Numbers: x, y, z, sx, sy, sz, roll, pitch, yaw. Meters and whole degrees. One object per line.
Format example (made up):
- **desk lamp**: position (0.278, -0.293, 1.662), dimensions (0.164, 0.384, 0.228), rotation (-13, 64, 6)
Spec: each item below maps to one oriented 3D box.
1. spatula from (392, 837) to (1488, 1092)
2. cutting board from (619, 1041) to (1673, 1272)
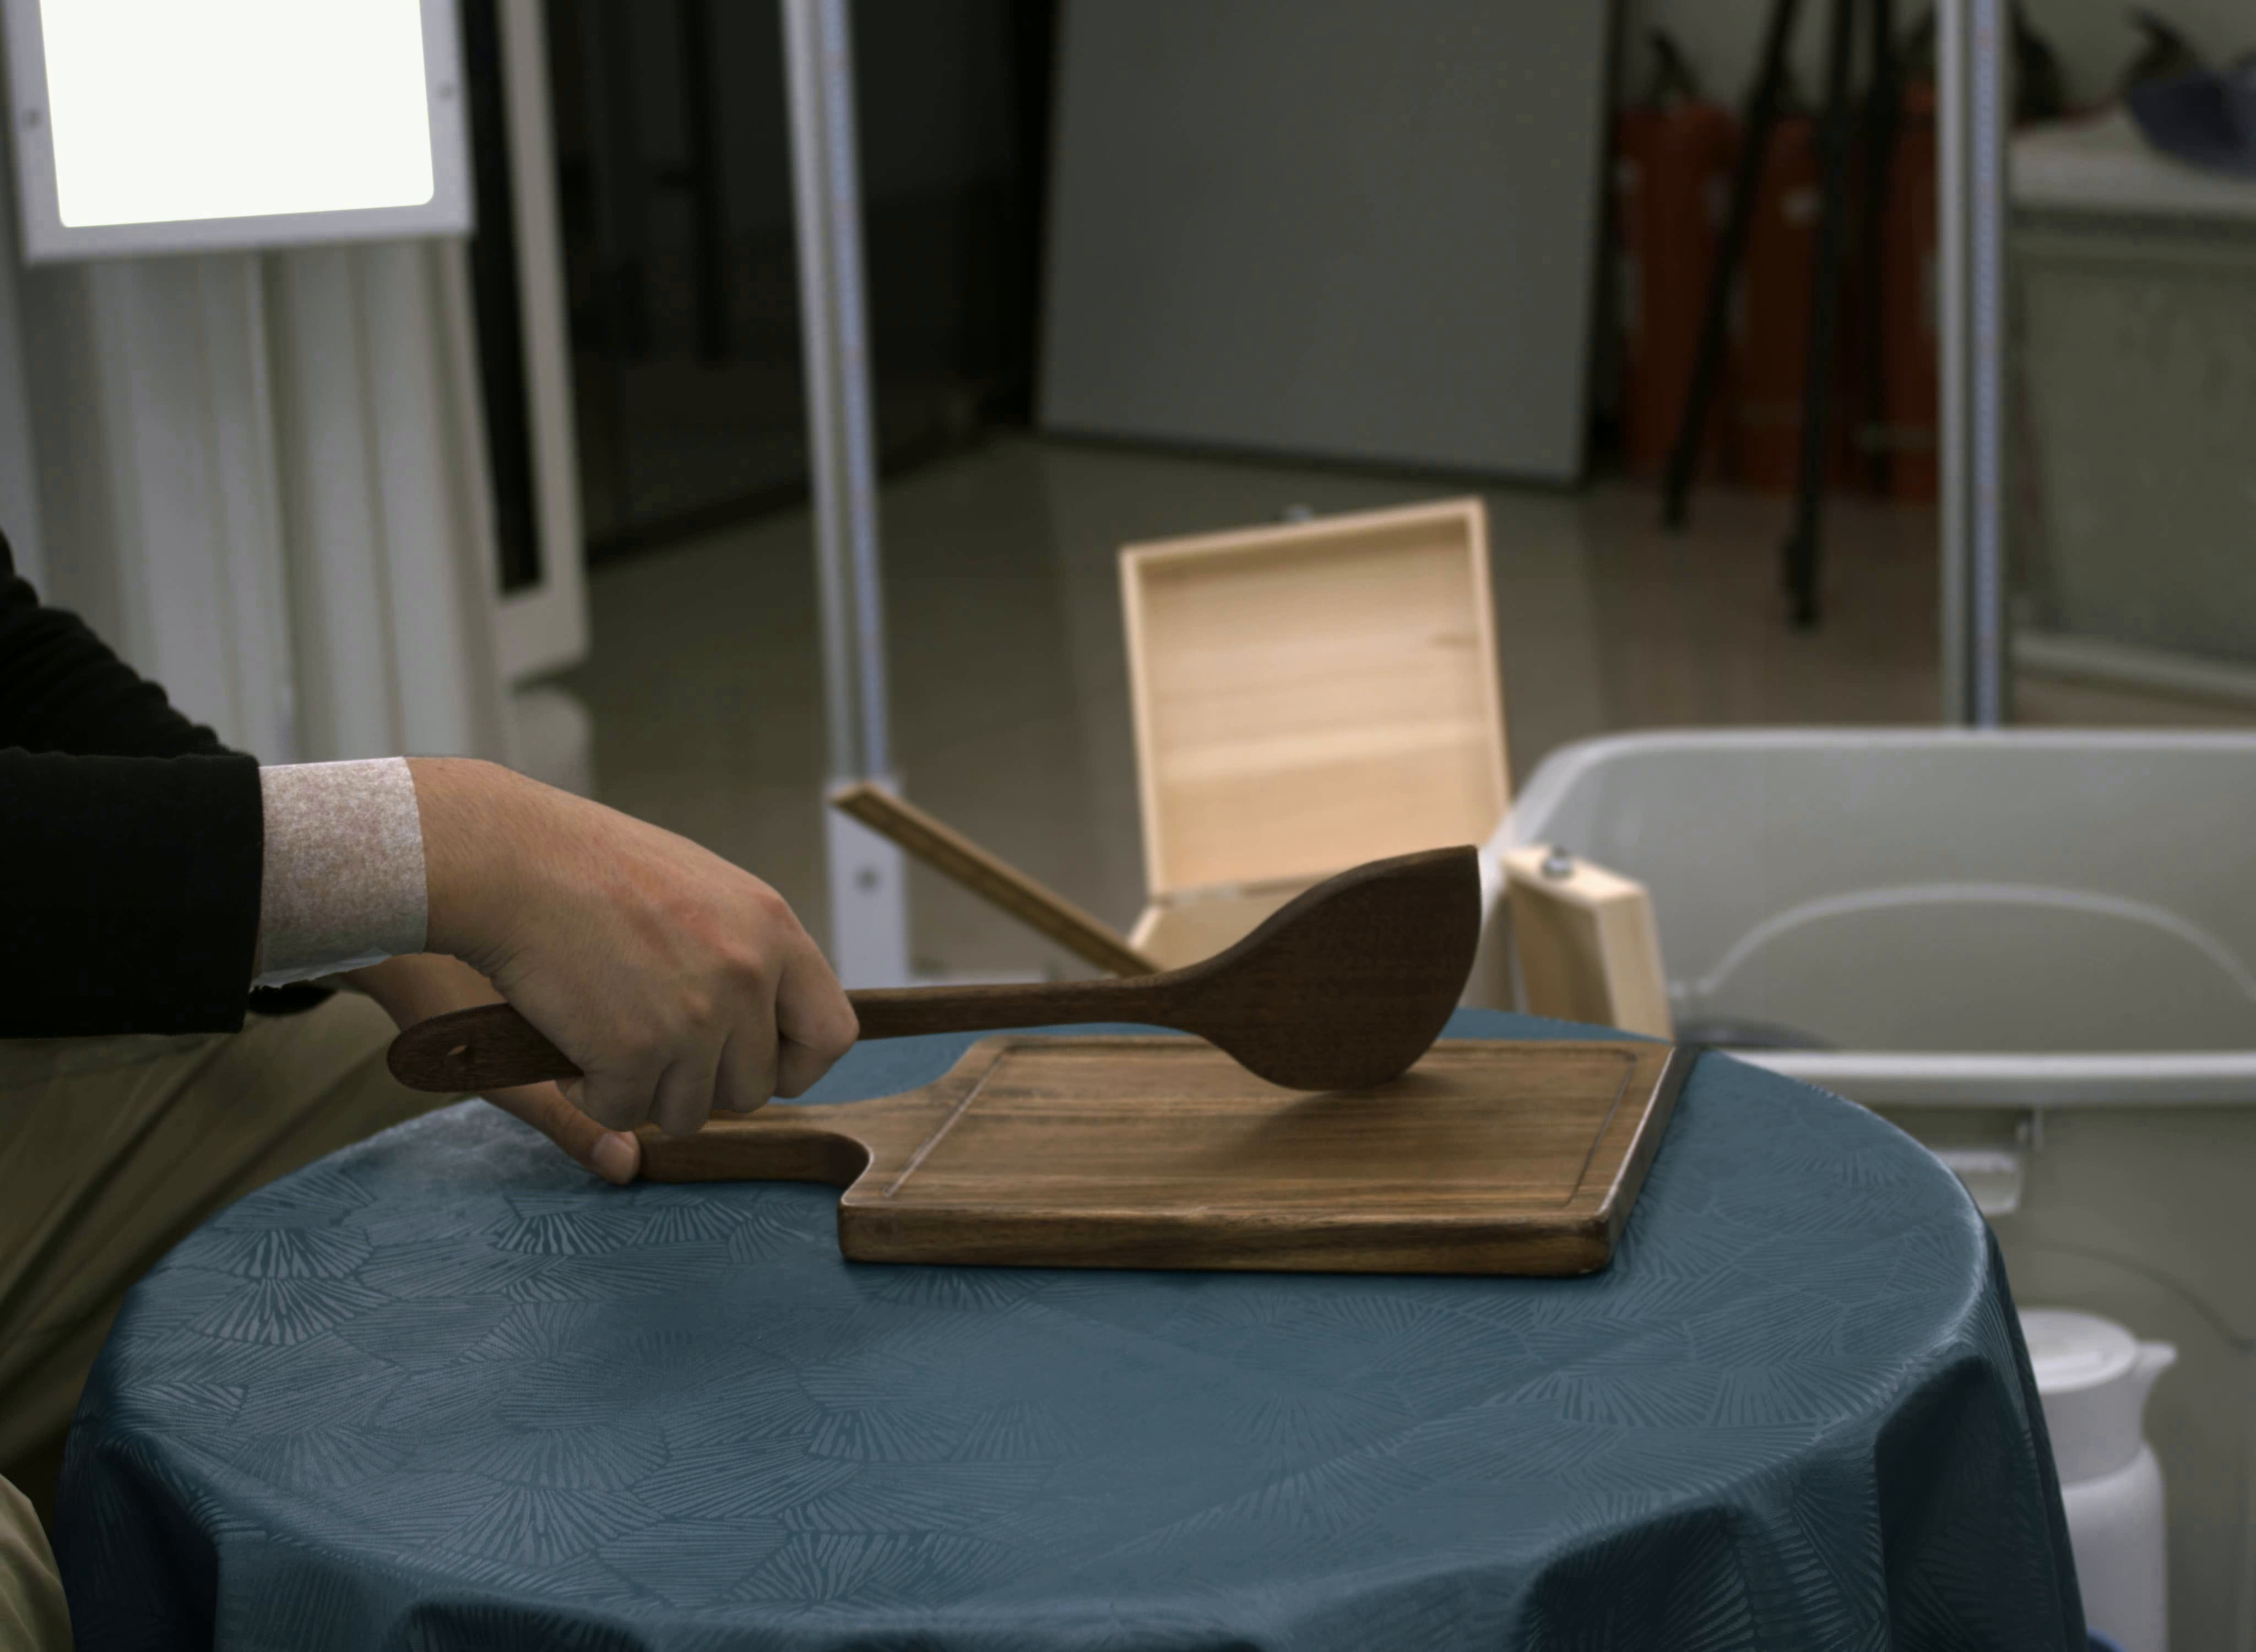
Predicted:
- **spatula**: position (-0.053, 0.056, 1.726), dimensions (0.377, 0.097, 0.016), rotation (-3, 34, -24)
- **cutting board**: position (0.000, 0.107, 1.785), dimensions (0.350, 0.023, 0.200), rotation (-1, 14, 14)
